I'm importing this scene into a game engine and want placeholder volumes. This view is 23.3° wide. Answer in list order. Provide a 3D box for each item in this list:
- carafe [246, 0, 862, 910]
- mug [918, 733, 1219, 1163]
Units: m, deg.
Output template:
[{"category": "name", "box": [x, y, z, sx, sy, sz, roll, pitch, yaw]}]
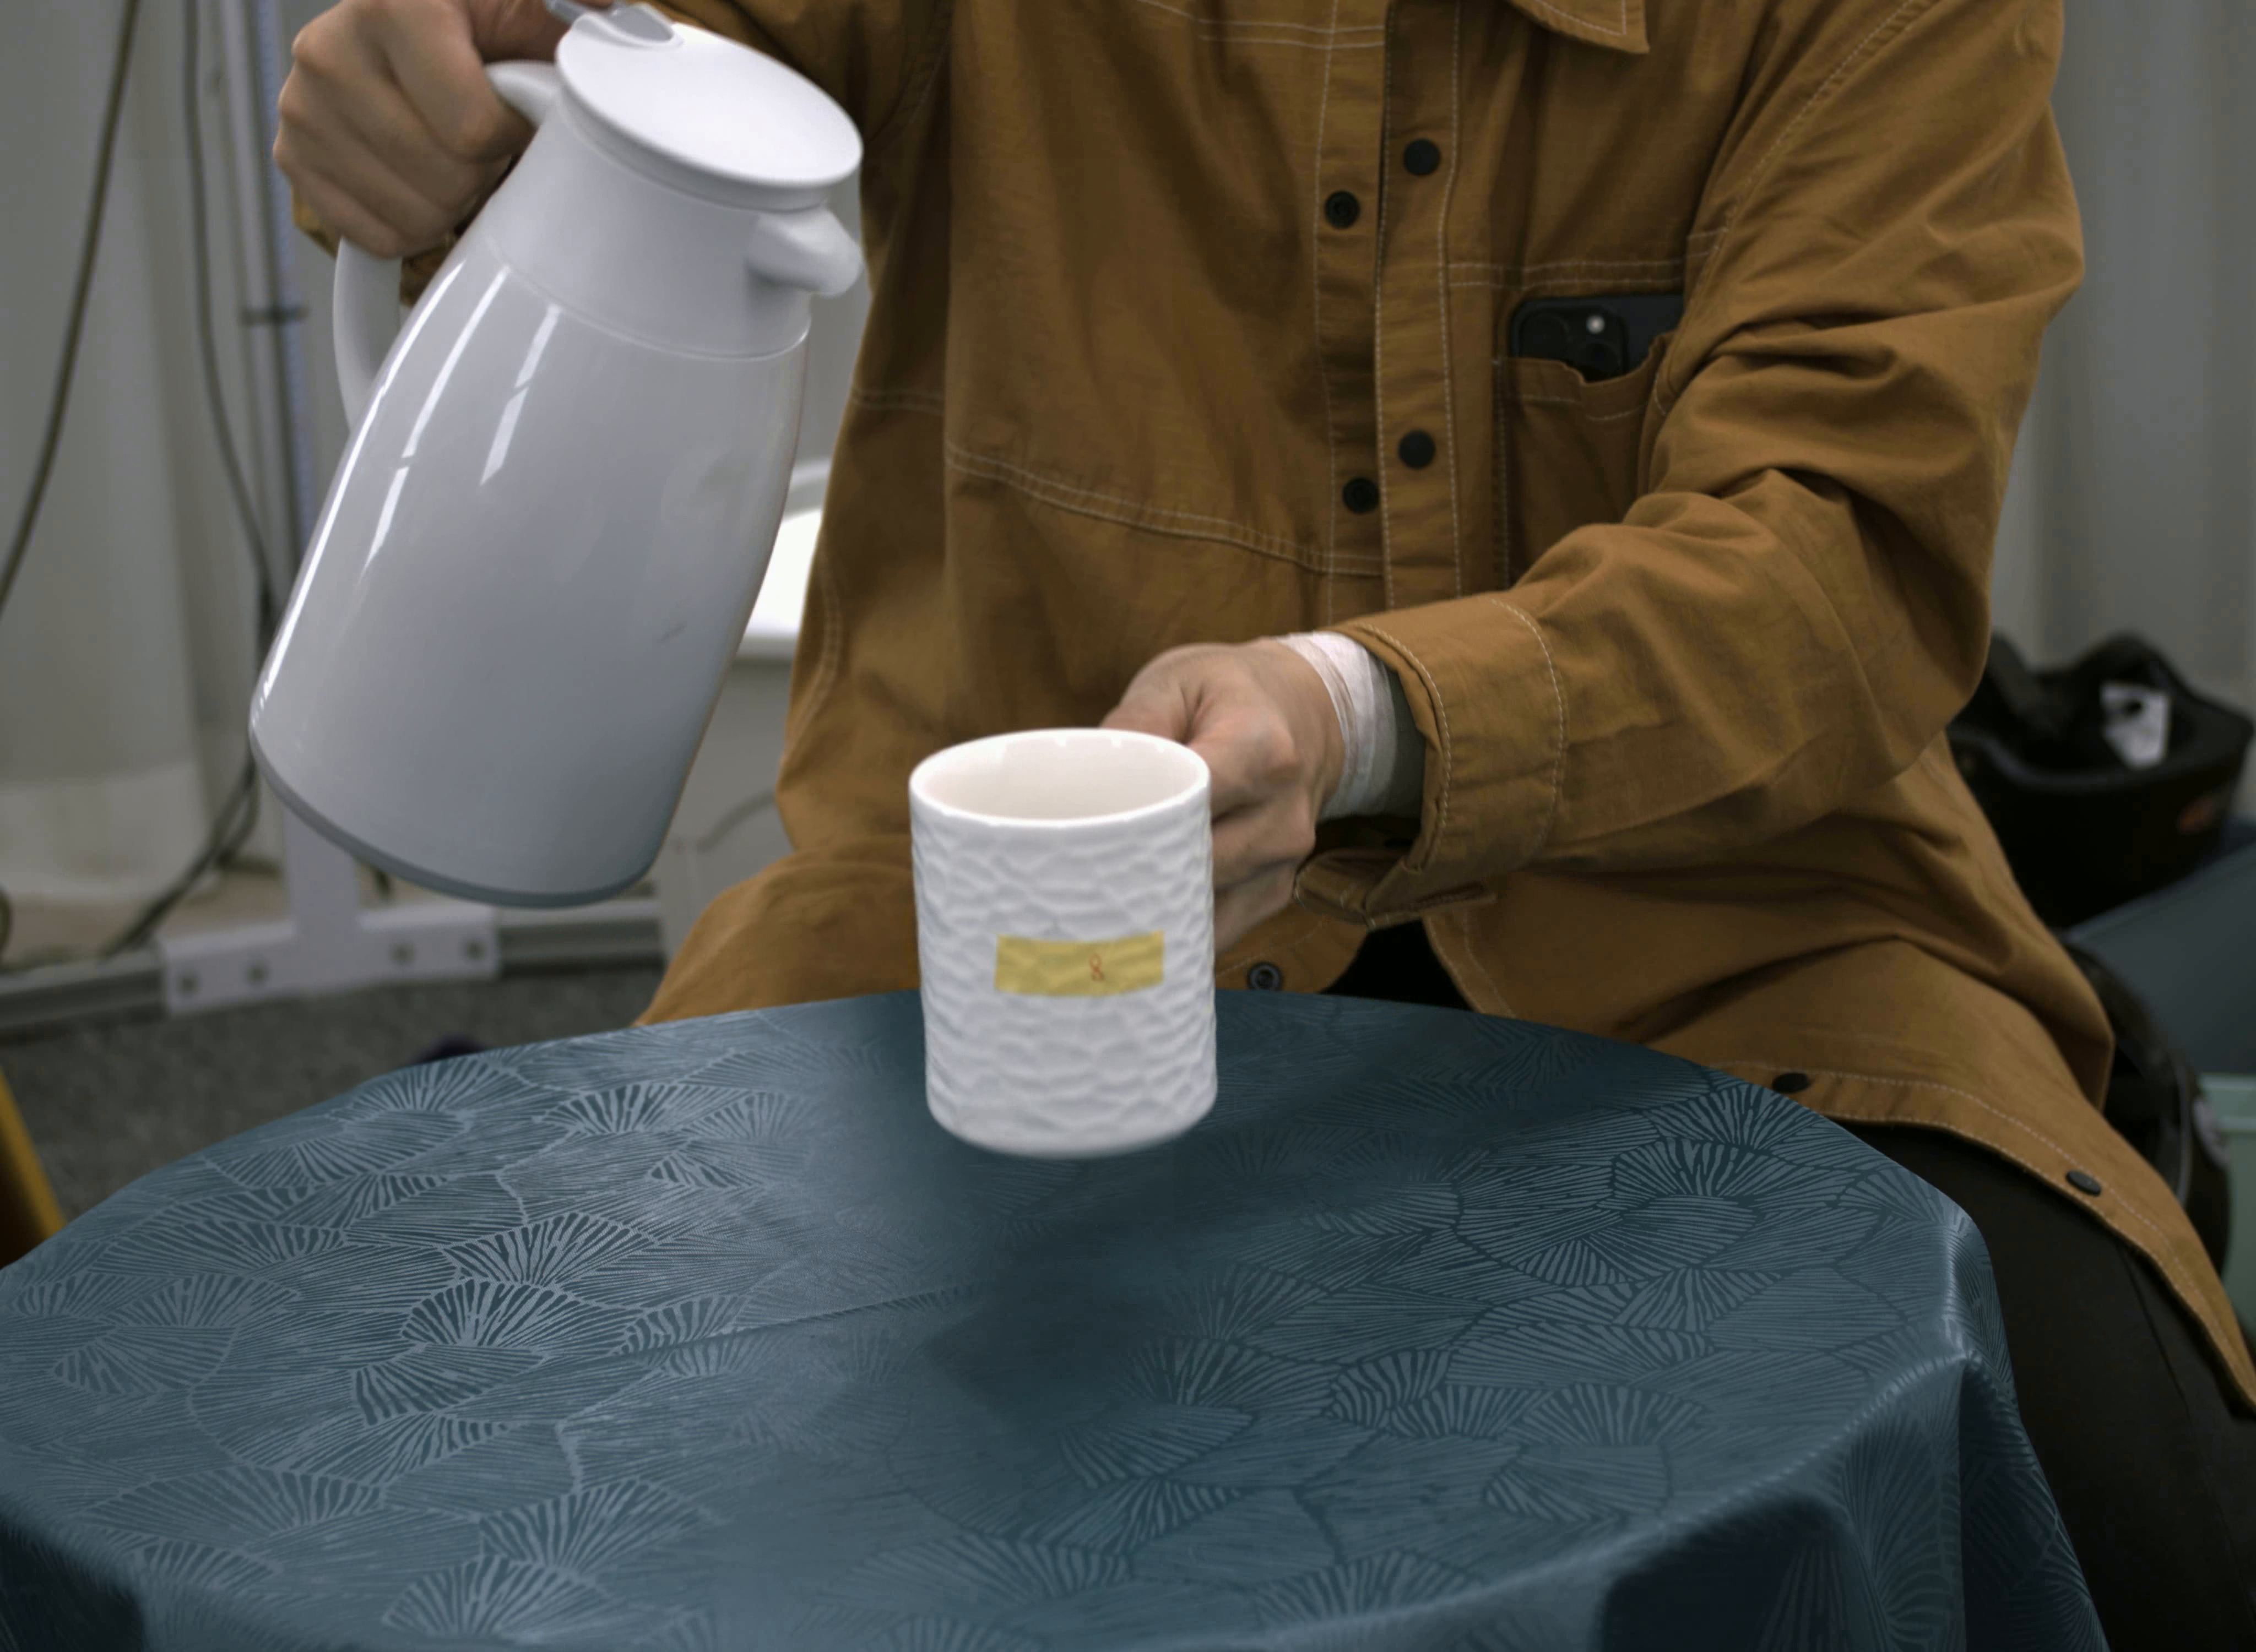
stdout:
[{"category": "carafe", "box": [-0.175, -0.123, 1.618, 0.169, 0.247, 0.132, 36, 30, 24]}, {"category": "mug", "box": [-0.013, 0.030, 1.562, 0.085, 0.101, 0.119, 3, 17, 13]}]
